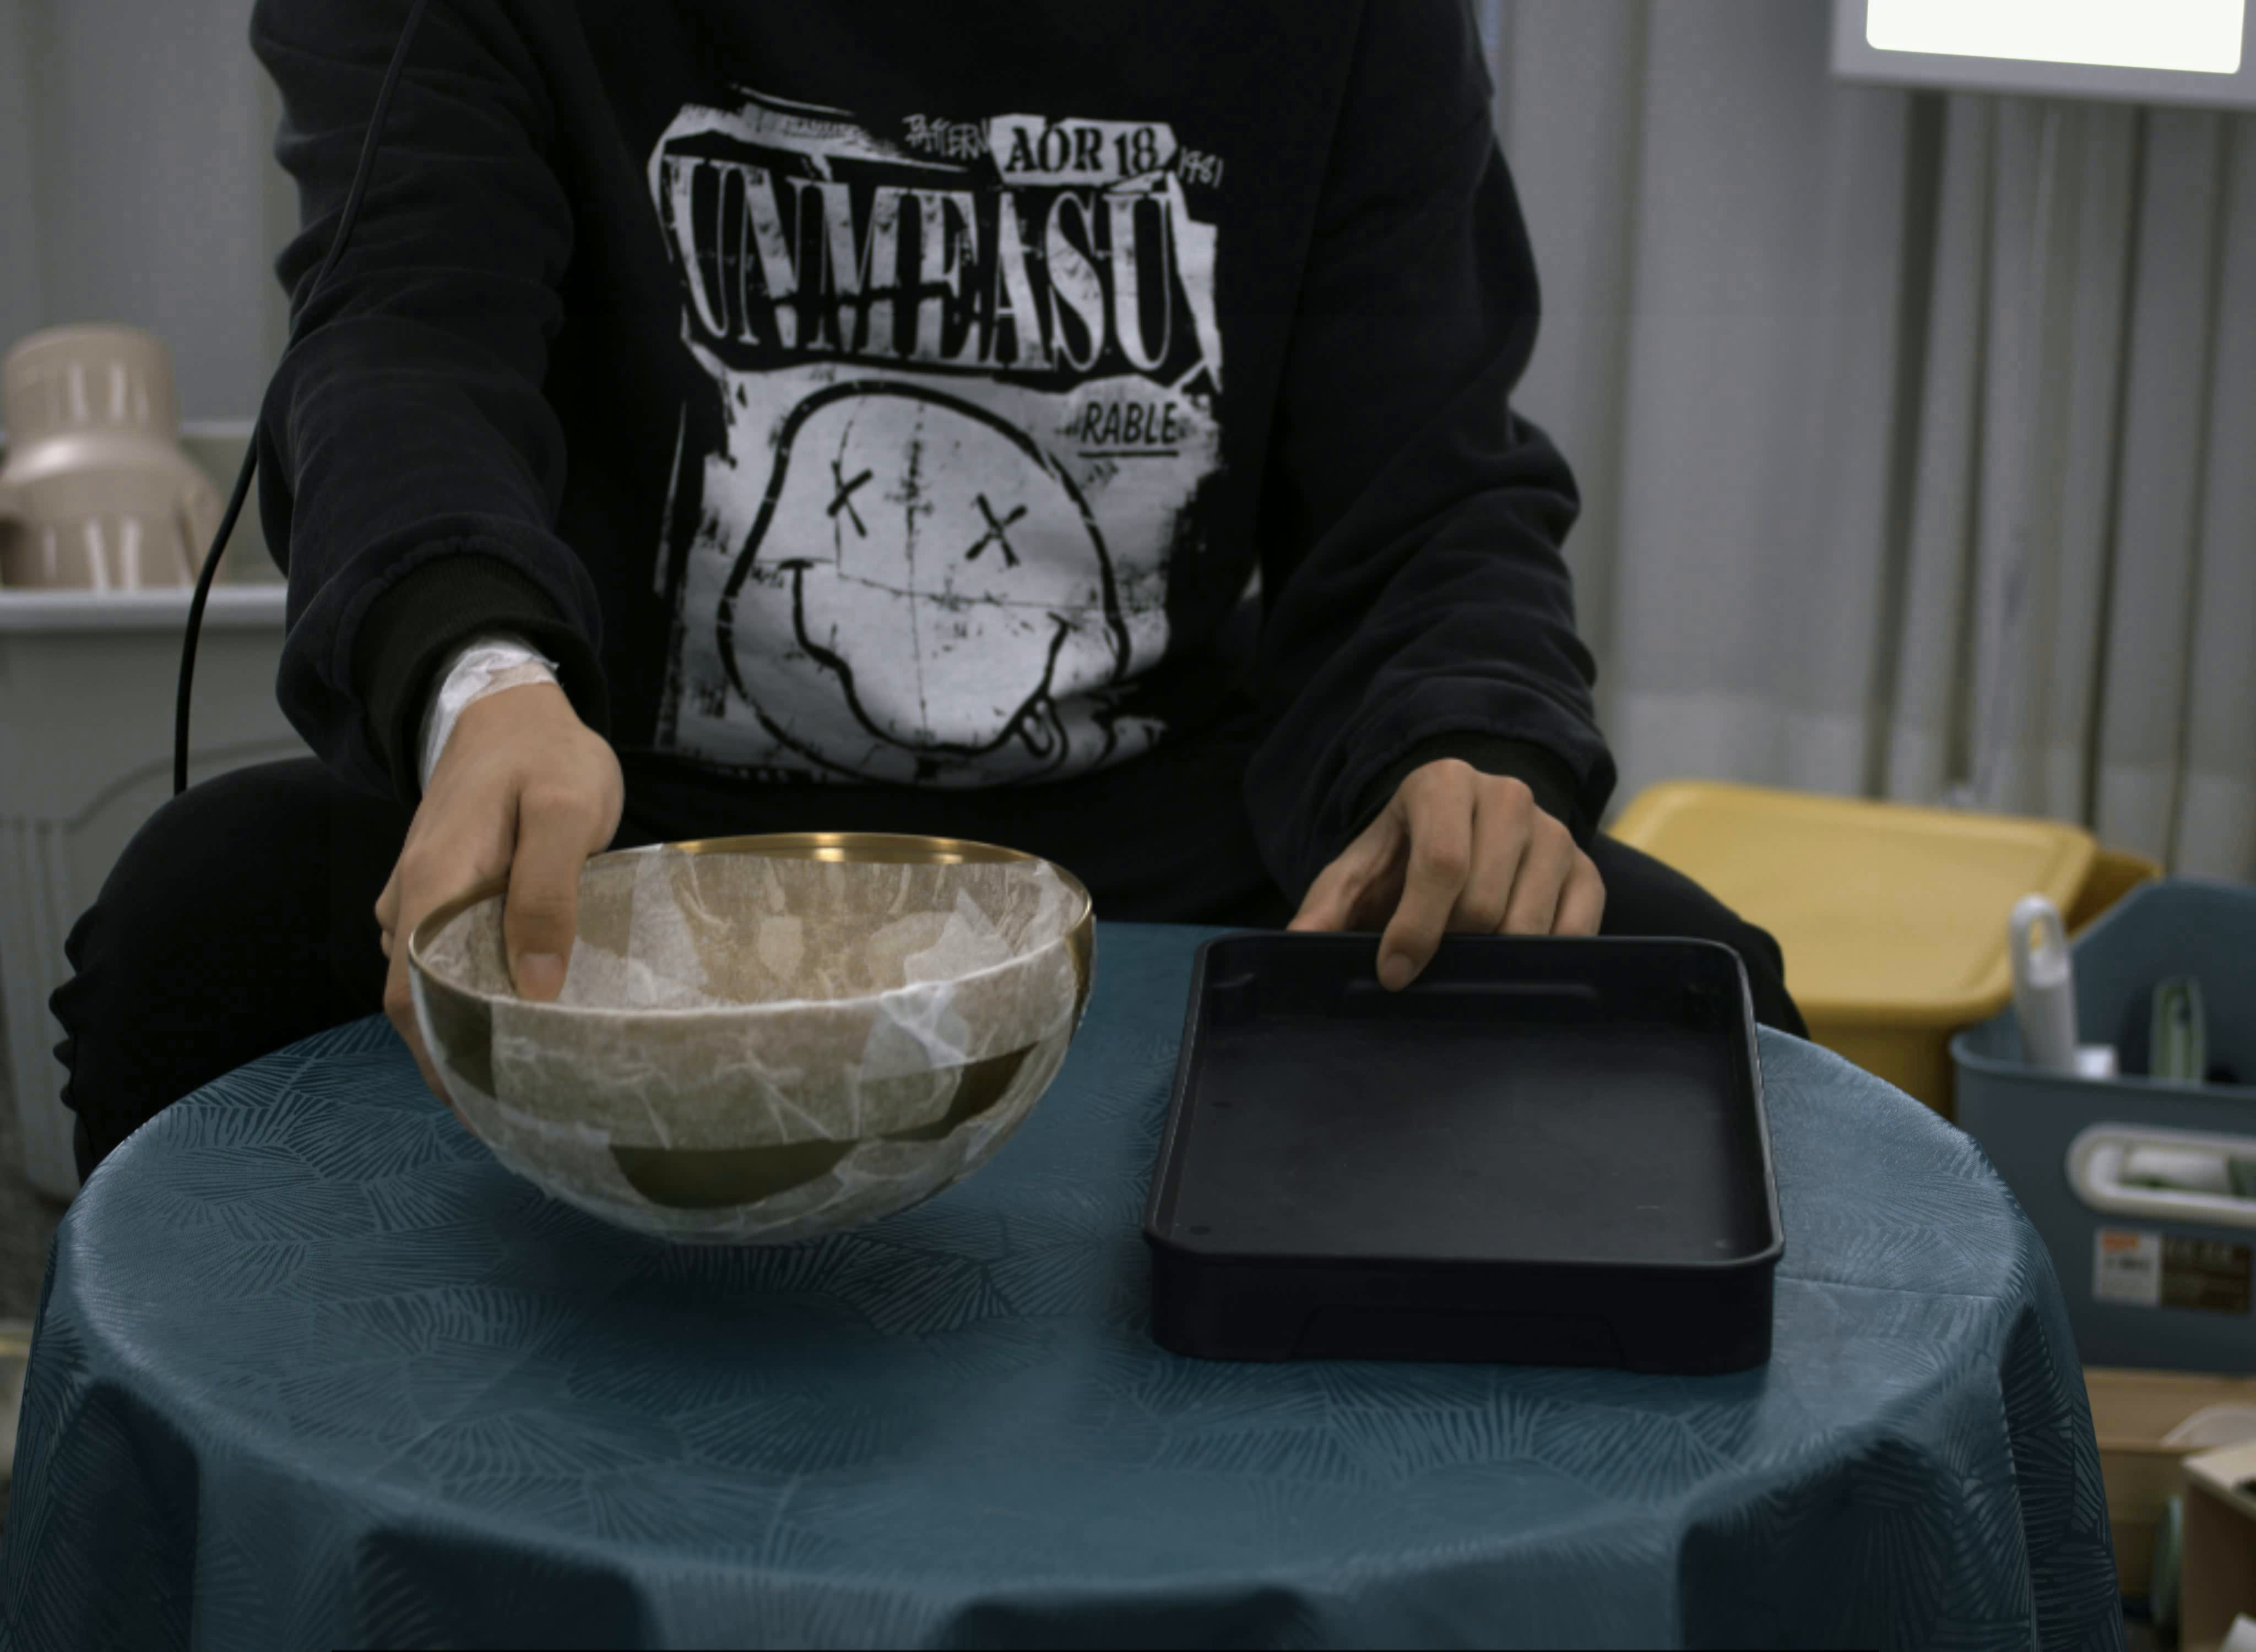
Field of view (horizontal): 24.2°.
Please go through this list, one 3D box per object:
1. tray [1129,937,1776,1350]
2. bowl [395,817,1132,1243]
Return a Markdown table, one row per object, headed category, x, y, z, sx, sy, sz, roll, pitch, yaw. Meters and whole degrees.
| category | x | y | z | sx | sy | sz | roll | pitch | yaw |
| --- | --- | --- | --- | --- | --- | --- | --- | --- | --- |
| tray | 0.104 | 0.092 | 1.625 | 0.183 | 0.037 | 0.317 | 1 | 14 | 5 |
| bowl | -0.104 | 0.067 | 1.534 | 0.214 | 0.095 | 0.213 | -3 | 14 | 1 |
